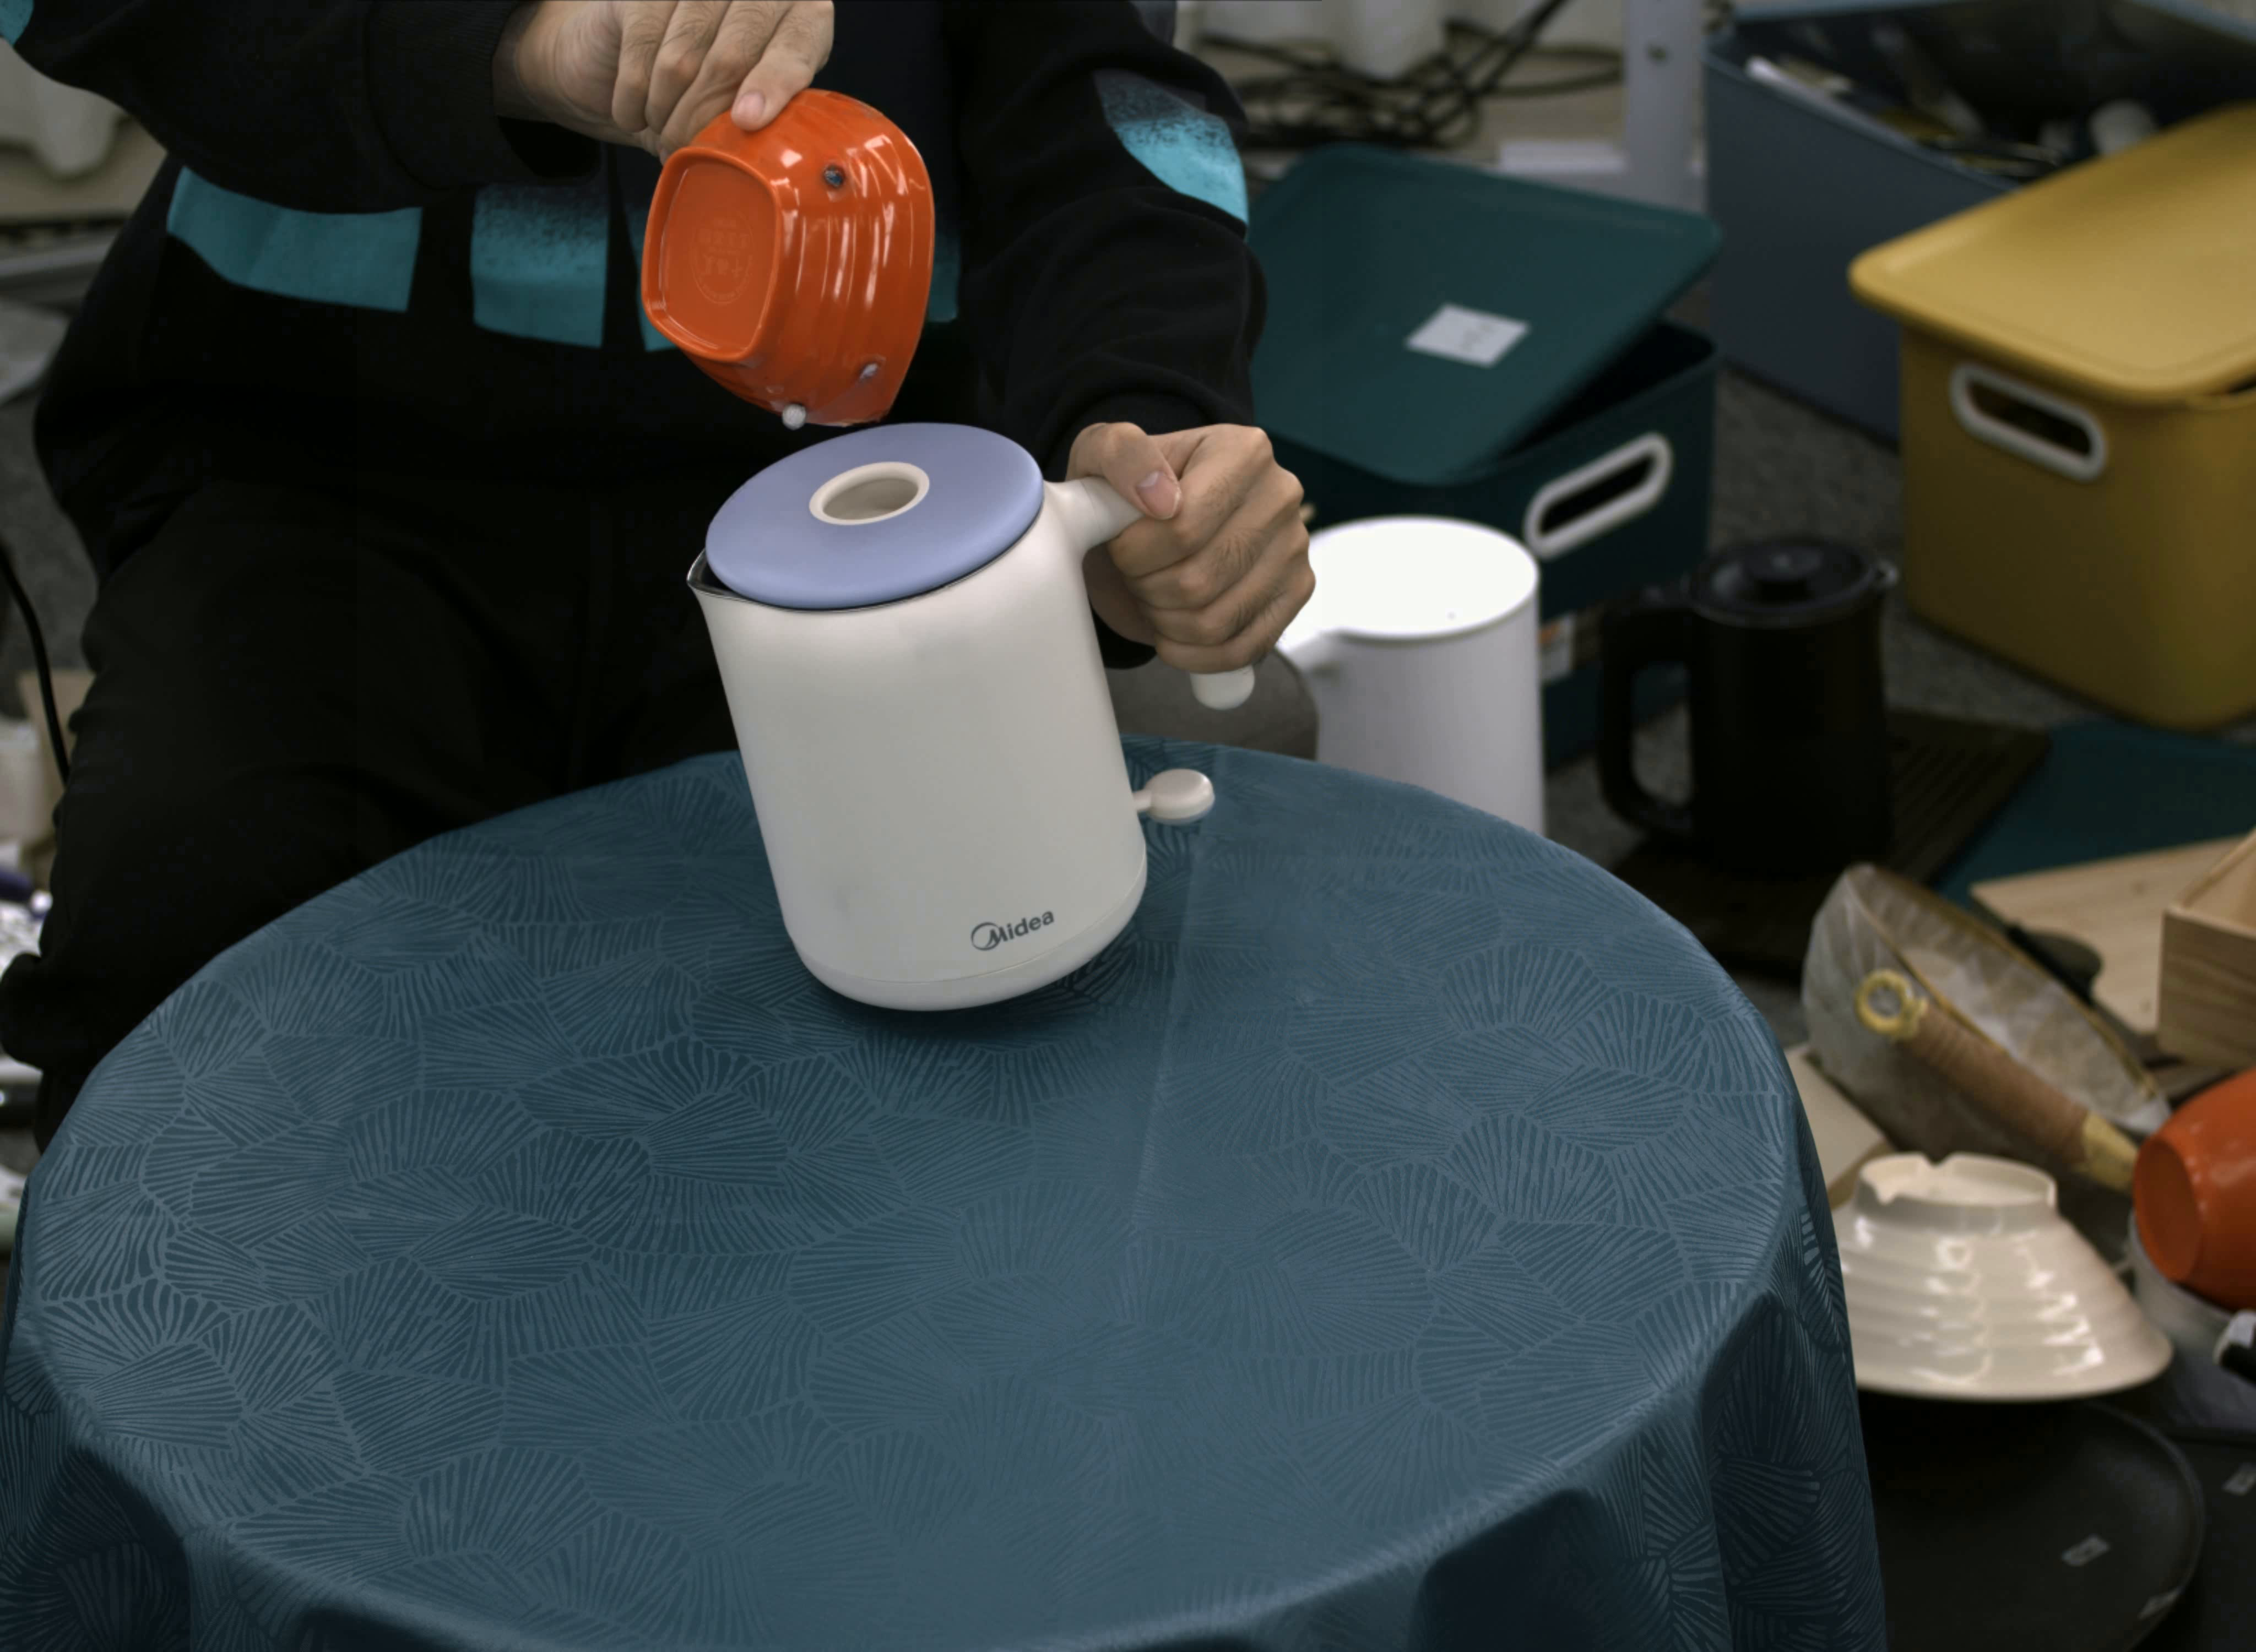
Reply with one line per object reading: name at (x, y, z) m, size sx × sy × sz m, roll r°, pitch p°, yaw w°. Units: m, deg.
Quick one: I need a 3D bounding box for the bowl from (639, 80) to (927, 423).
bowl at (-0.121, -0.189, 1.861) m, size 0.051 × 0.118 × 0.119 m, roll -5°, pitch 22°, yaw -42°

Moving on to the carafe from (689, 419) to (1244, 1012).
carafe at (-0.050, -0.046, 1.965) m, size 0.191 × 0.180 × 0.133 m, roll -18°, pitch 32°, yaw -15°
